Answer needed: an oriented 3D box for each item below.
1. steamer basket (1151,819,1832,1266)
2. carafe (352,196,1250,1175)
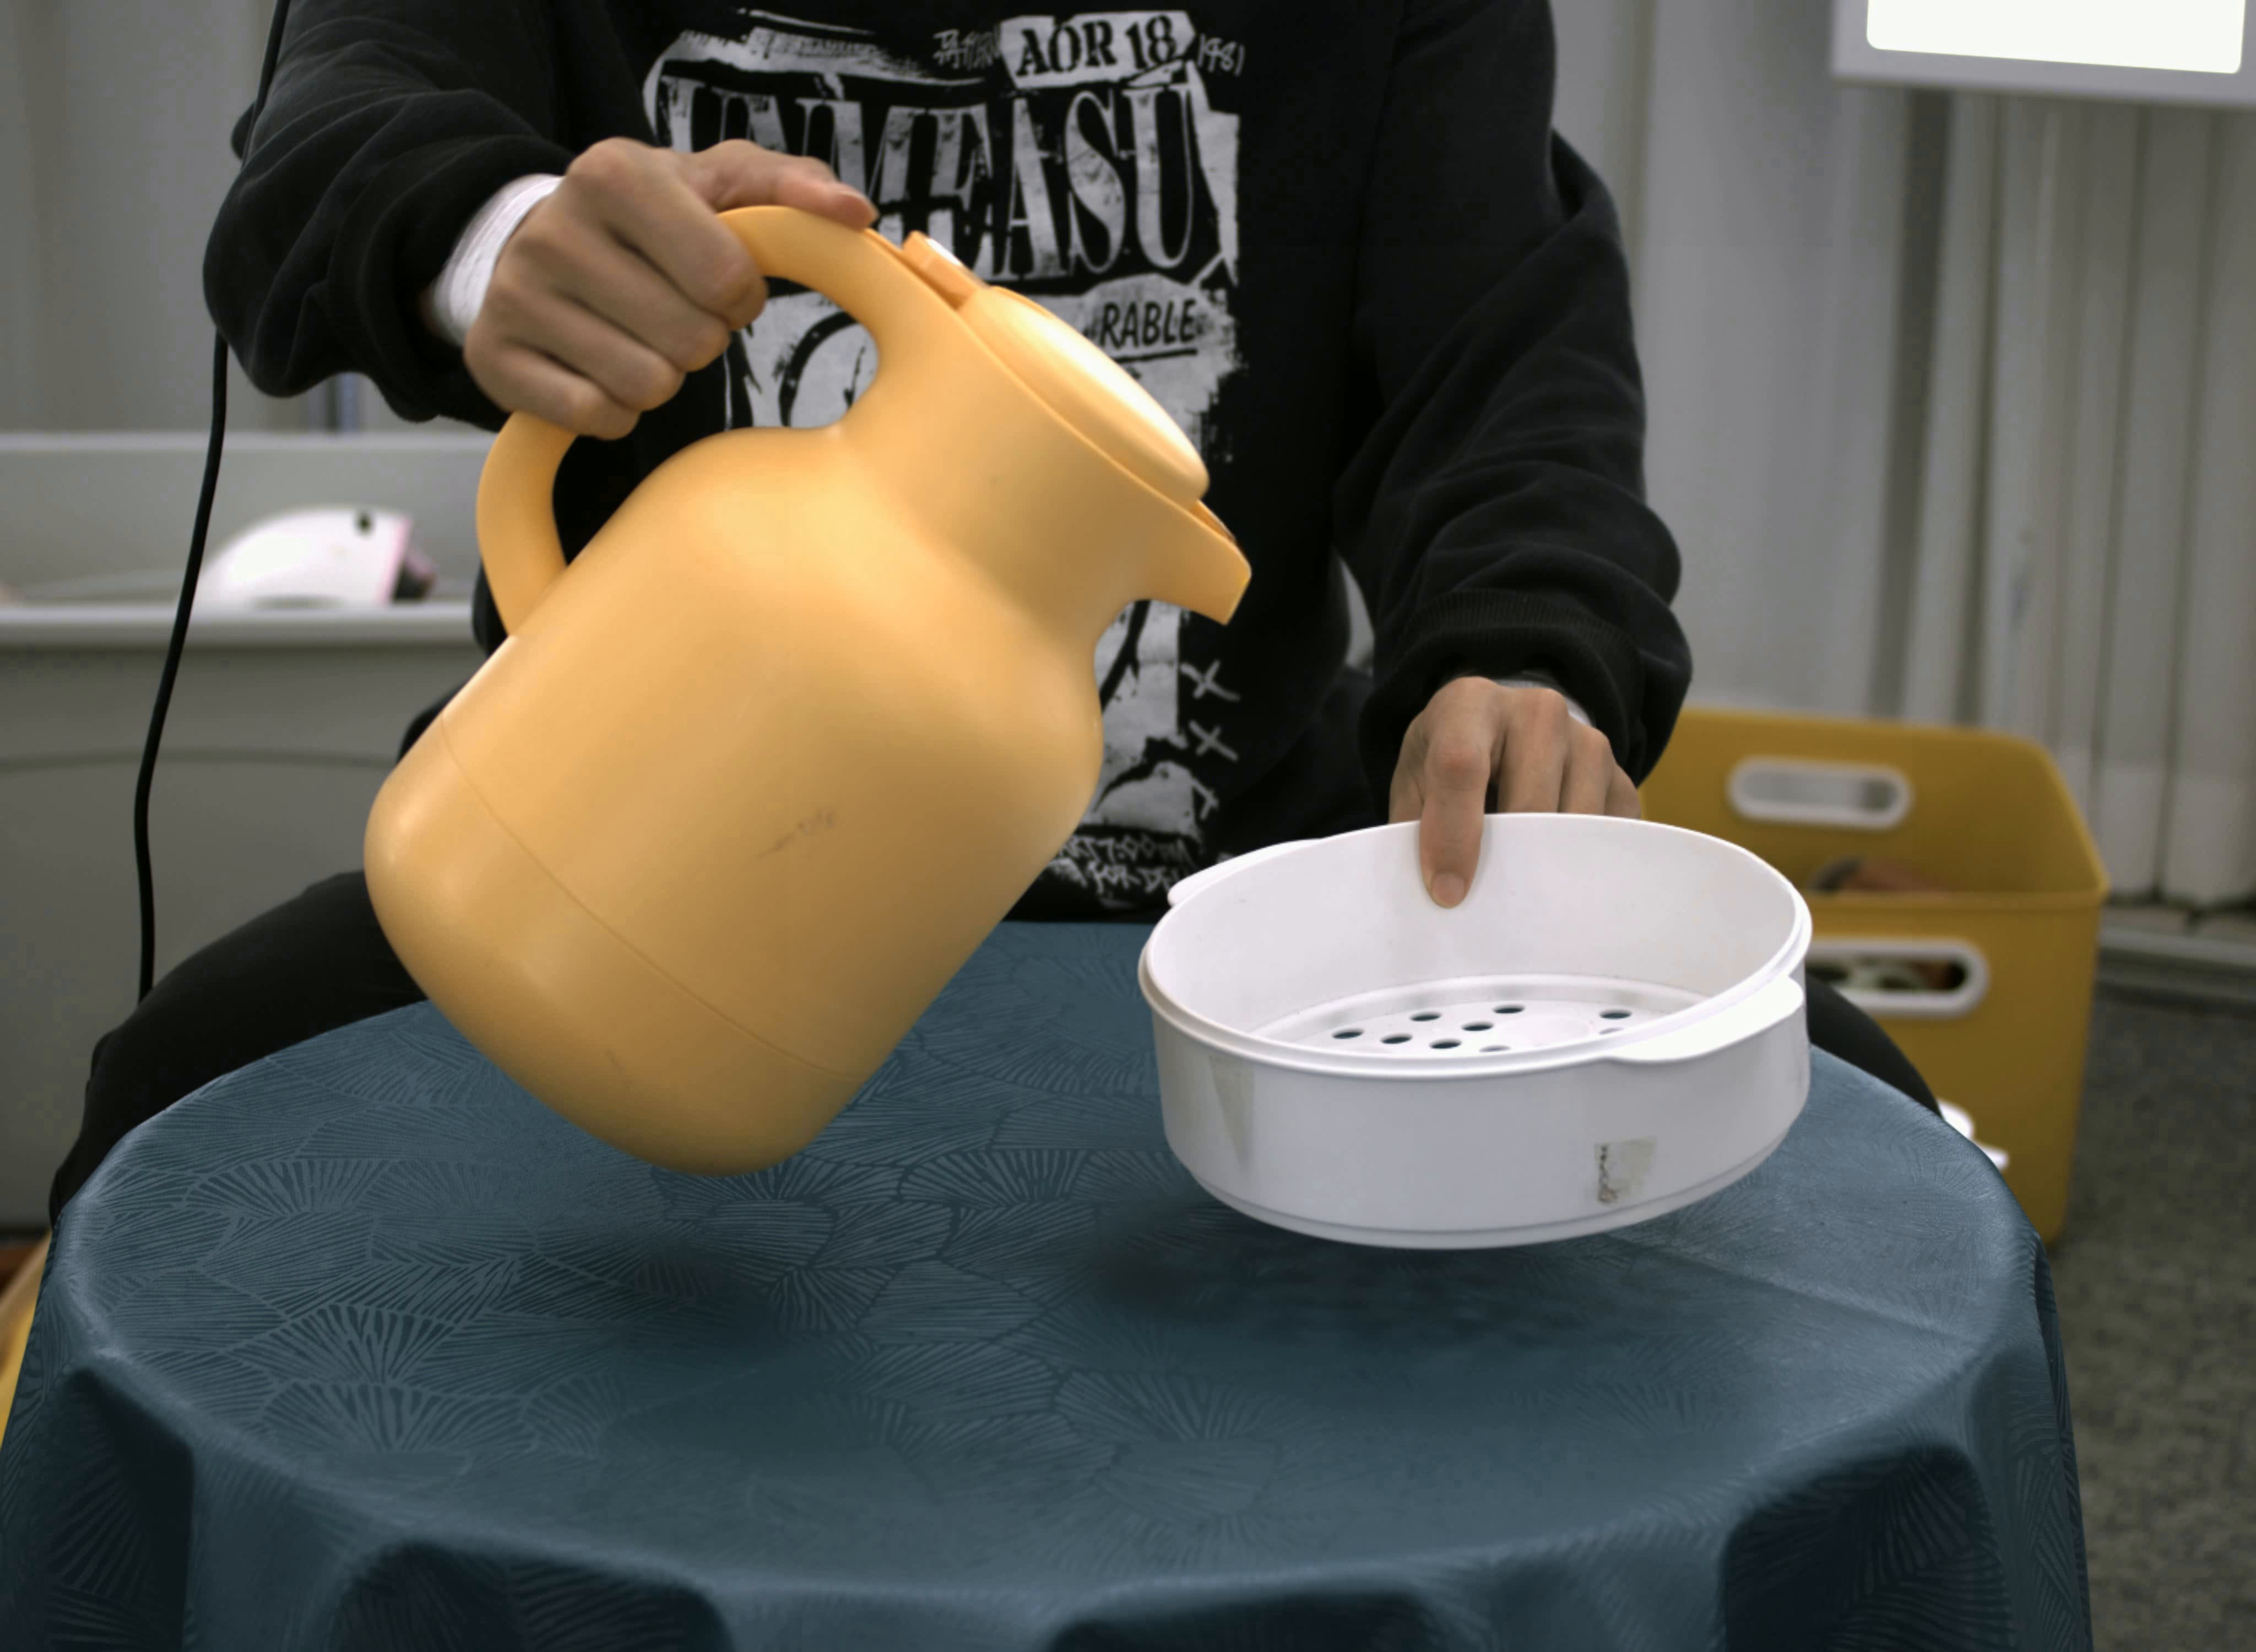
[{"bbox_3d":[0.109,0.064,1.563,0.202,0.070,0.227,-21,26,-36],"label":"steamer basket"},{"bbox_3d":[-0.105,-0.049,1.506,0.202,0.260,0.163,43,8,1],"label":"carafe"}]
